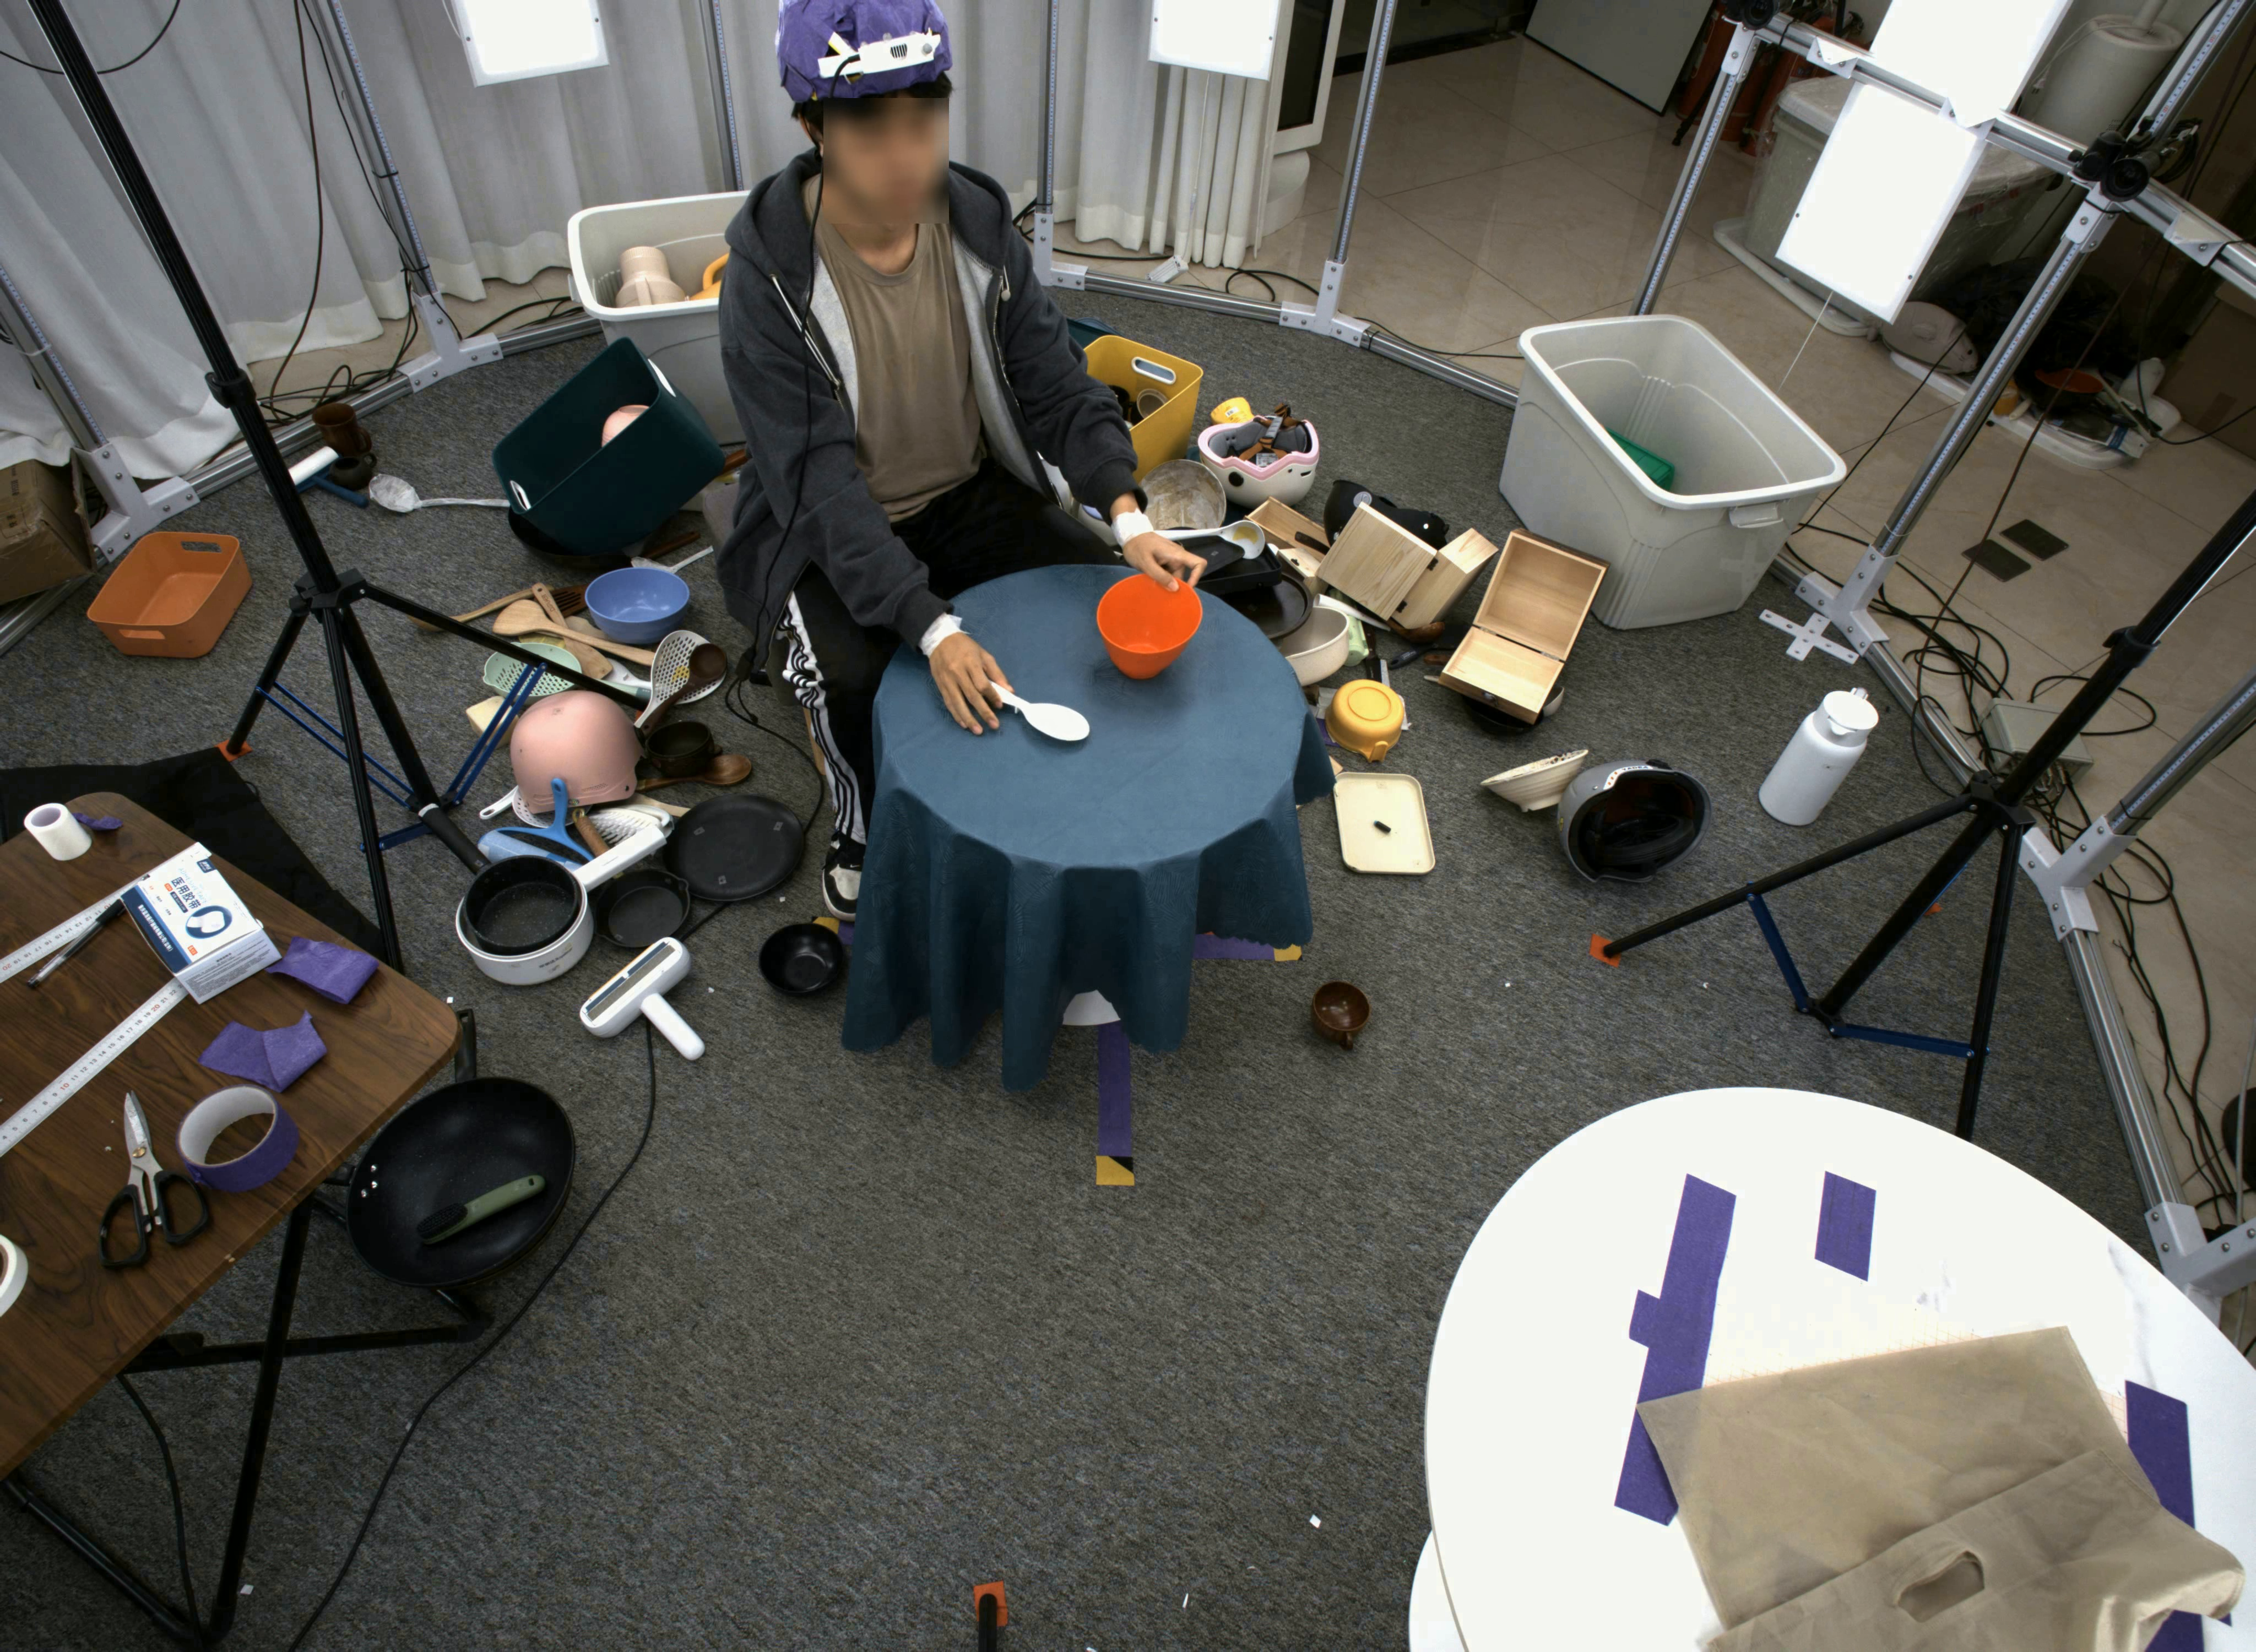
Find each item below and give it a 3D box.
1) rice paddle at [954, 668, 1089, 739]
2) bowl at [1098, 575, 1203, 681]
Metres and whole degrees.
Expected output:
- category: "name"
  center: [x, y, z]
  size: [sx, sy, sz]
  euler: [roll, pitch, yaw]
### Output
- category: "rice paddle"
  center: [-0.146, -0.170, 1.783]
  size: [0.206, 0.029, 0.070]
  euler: [24, 44, 15]
- category: "bowl"
  center: [0.029, -0.274, 1.842]
  size: [0.148, 0.102, 0.152]
  euler: [1, 50, -2]
